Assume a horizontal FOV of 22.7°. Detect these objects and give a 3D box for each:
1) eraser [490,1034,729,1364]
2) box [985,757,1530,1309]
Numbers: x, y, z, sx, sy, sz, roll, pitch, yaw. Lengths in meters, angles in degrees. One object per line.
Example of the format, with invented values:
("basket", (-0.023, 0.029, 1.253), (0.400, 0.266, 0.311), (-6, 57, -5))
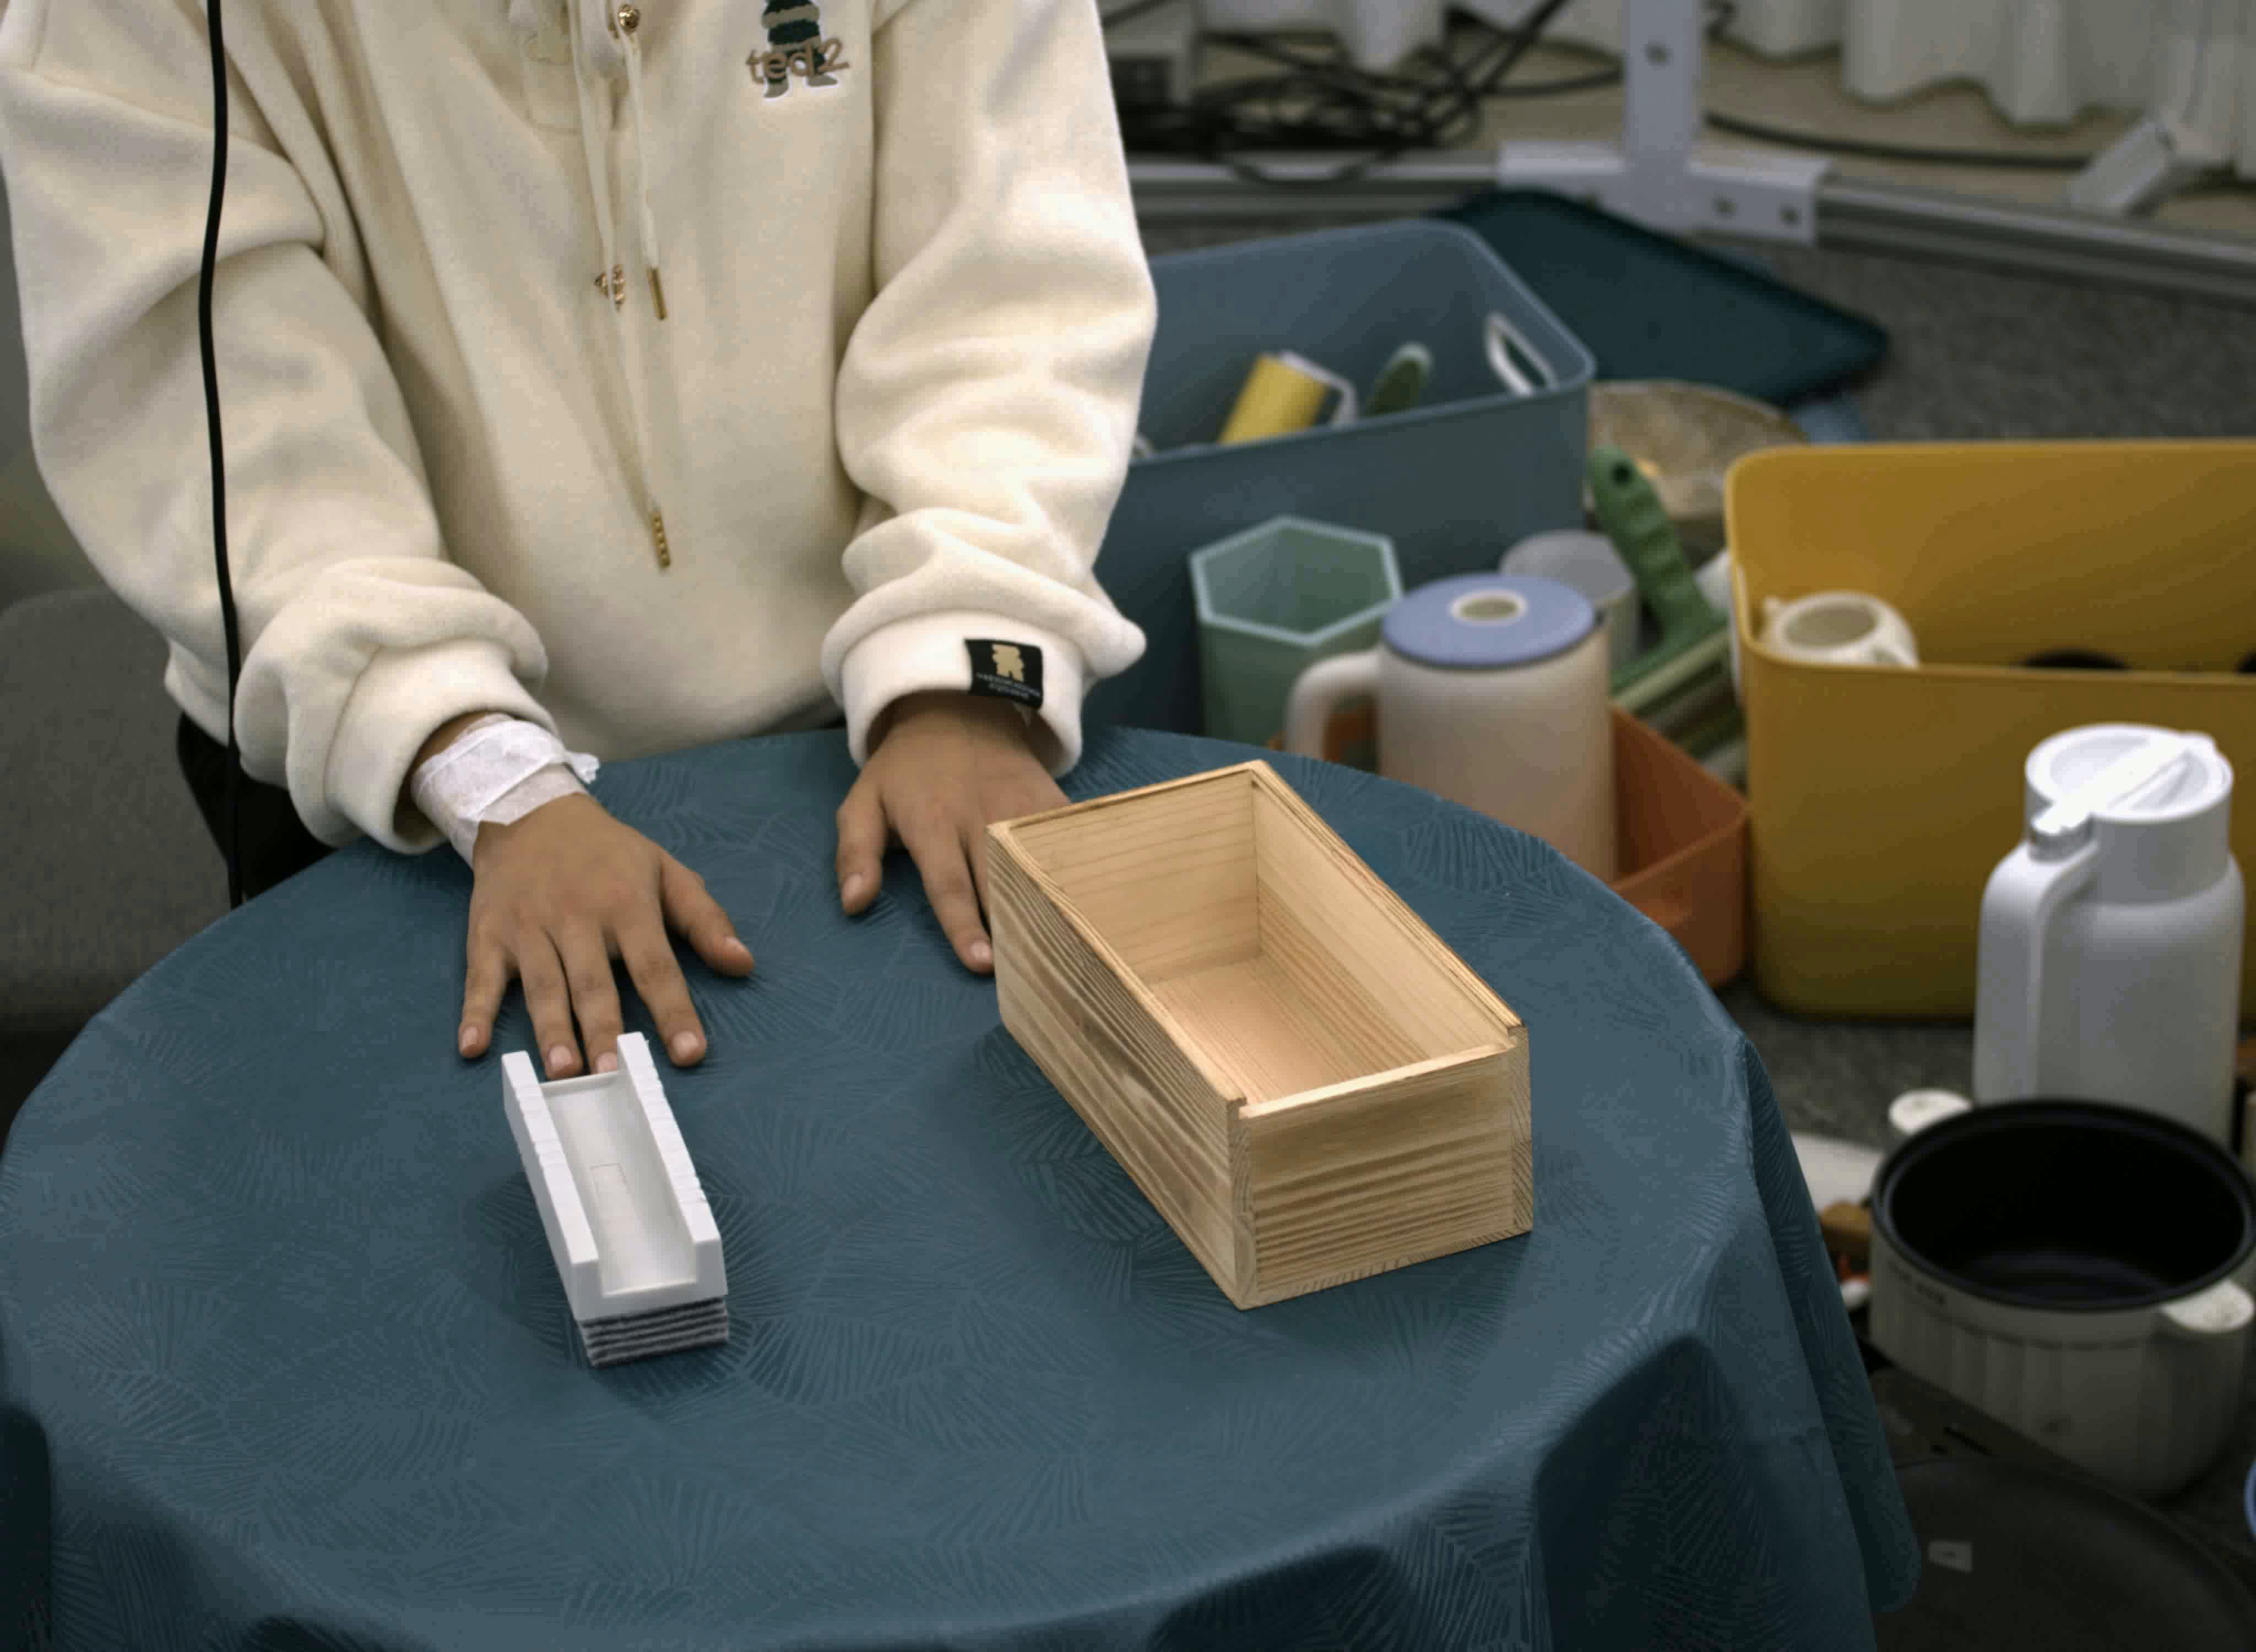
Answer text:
("eraser", (-0.169, 0.121, 1.829), (0.050, 0.046, 0.135), (-12, 30, -13))
("box", (0.041, 0.065, 1.881), (0.108, 0.079, 0.213), (-13, 29, -20))
